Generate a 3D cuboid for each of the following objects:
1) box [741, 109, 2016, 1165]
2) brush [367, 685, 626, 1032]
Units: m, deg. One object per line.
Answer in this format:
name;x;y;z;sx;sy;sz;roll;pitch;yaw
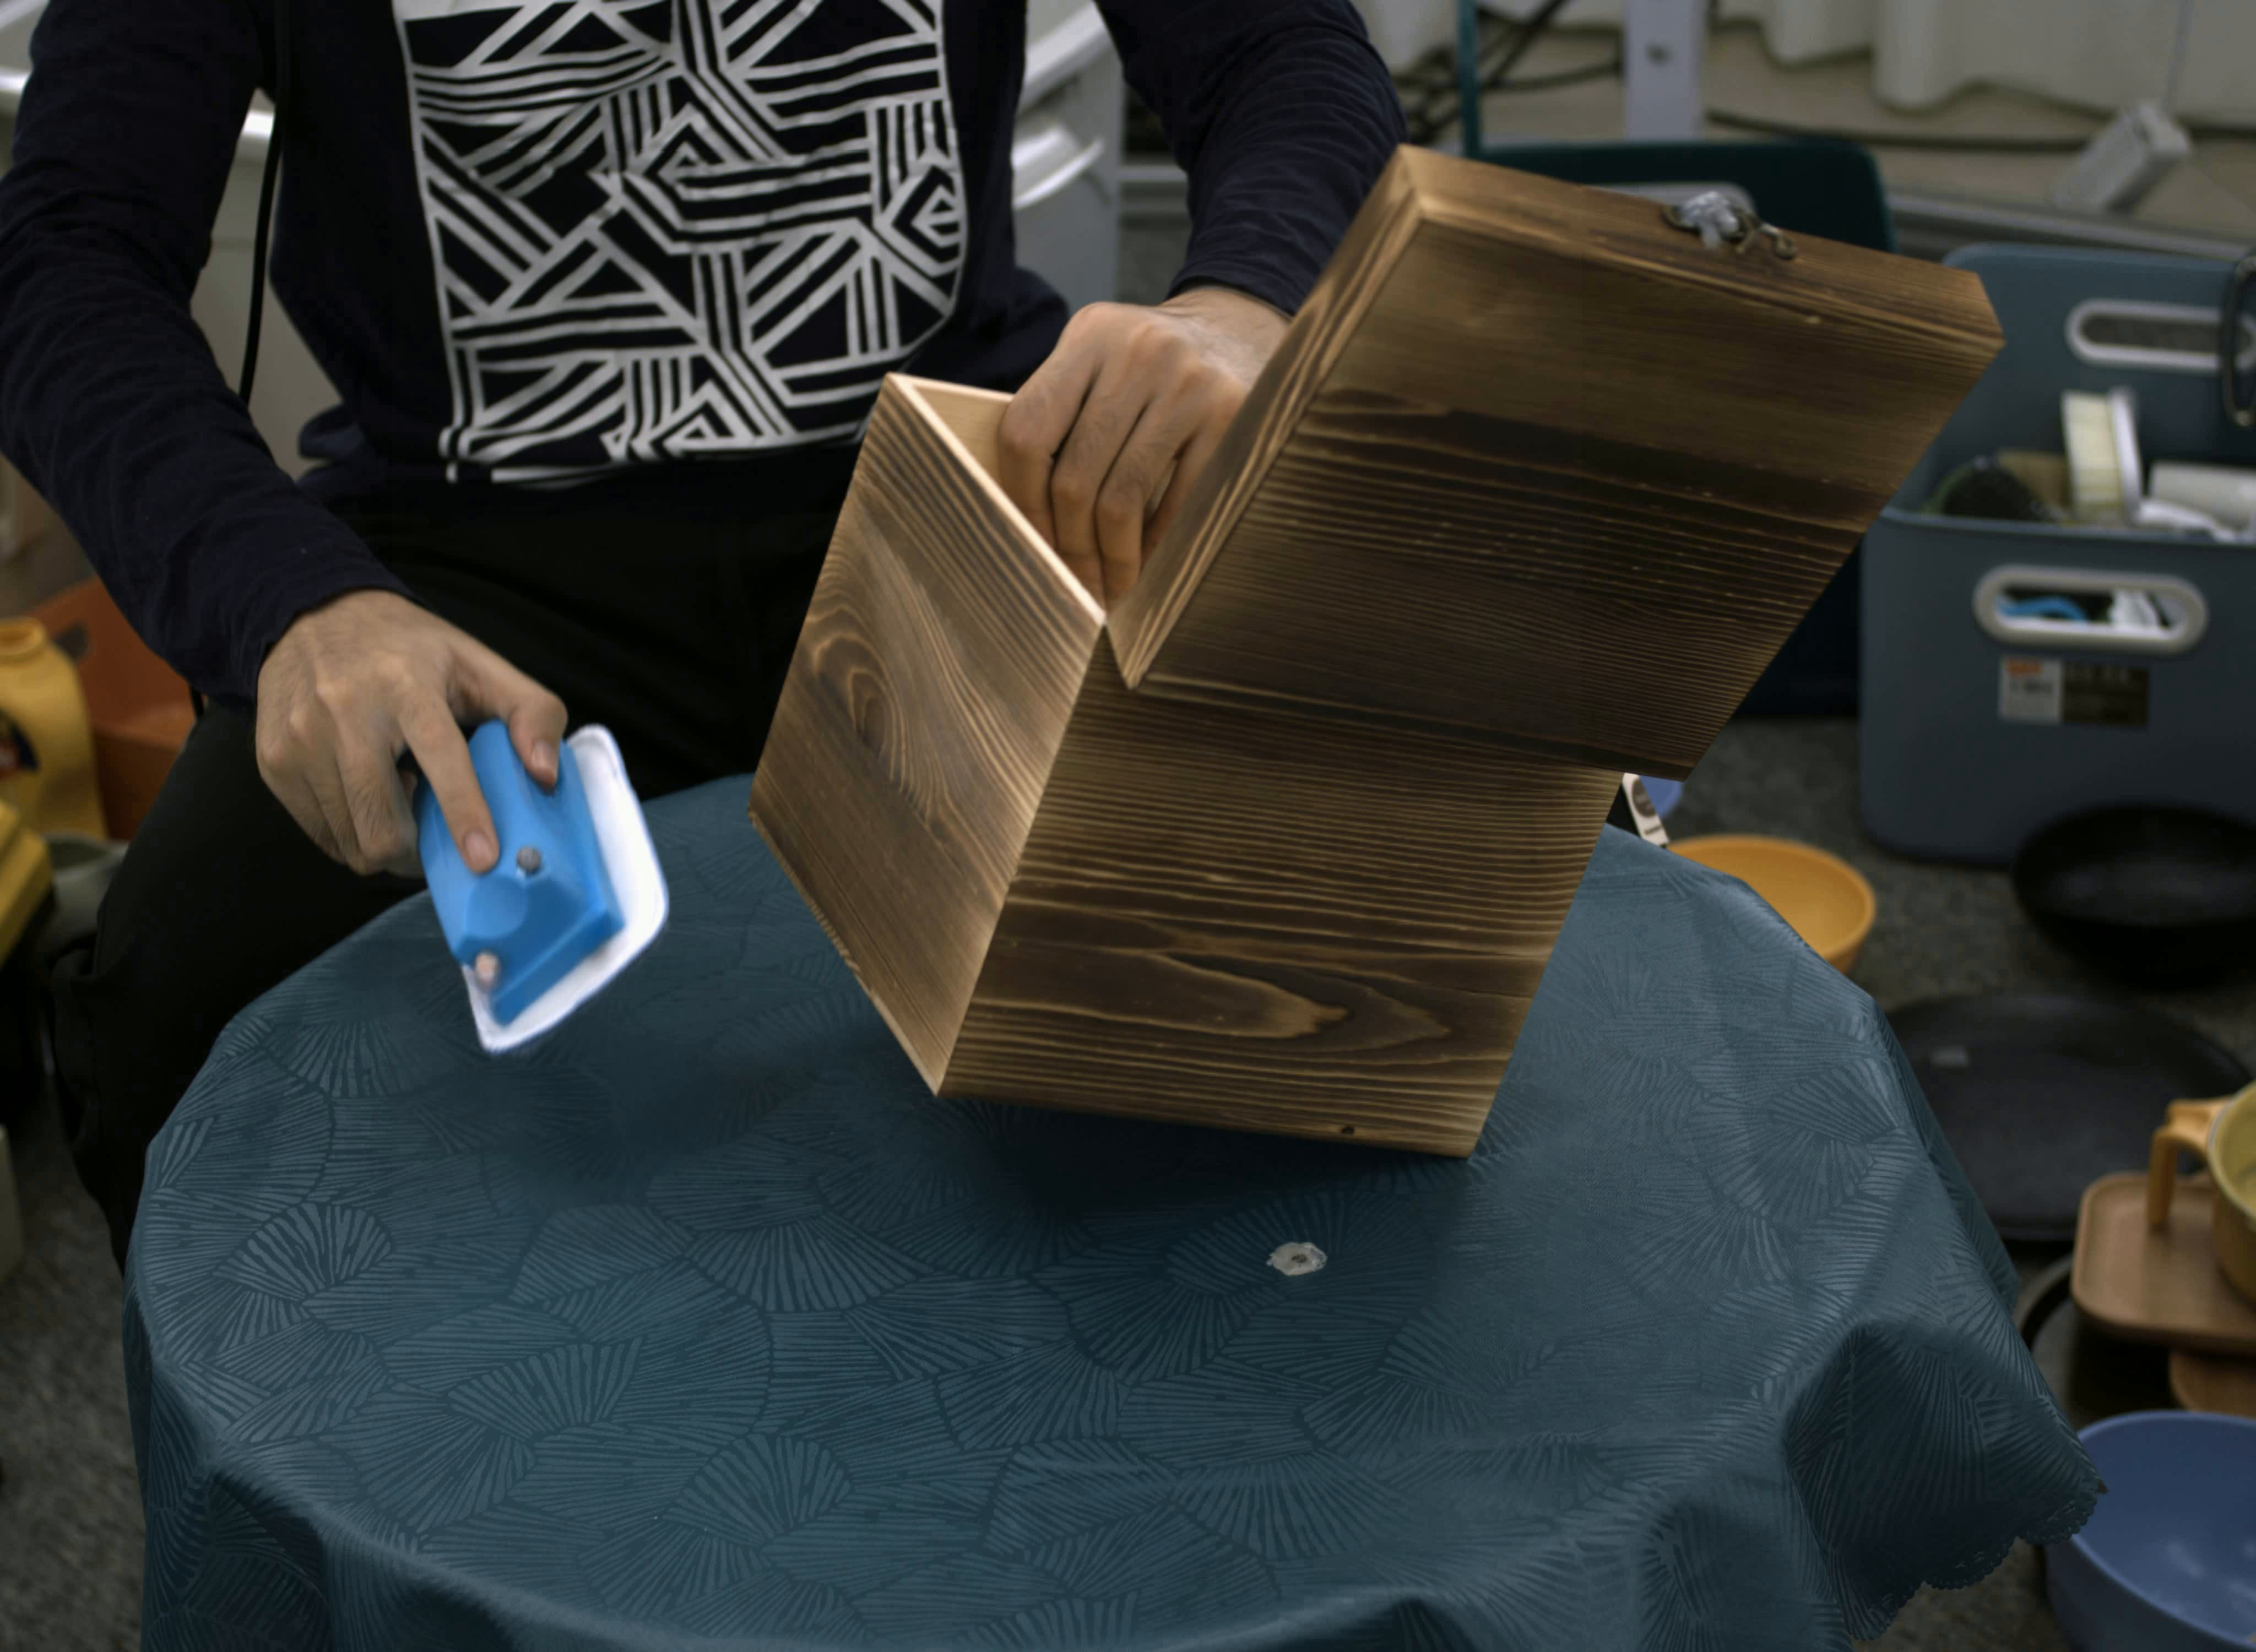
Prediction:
box;0.068;-0.083;1.808;0.208;0.372;0.325;10;21;-28
brush;-0.221;0.004;1.891;0.083;0.055;0.146;-37;36;6
